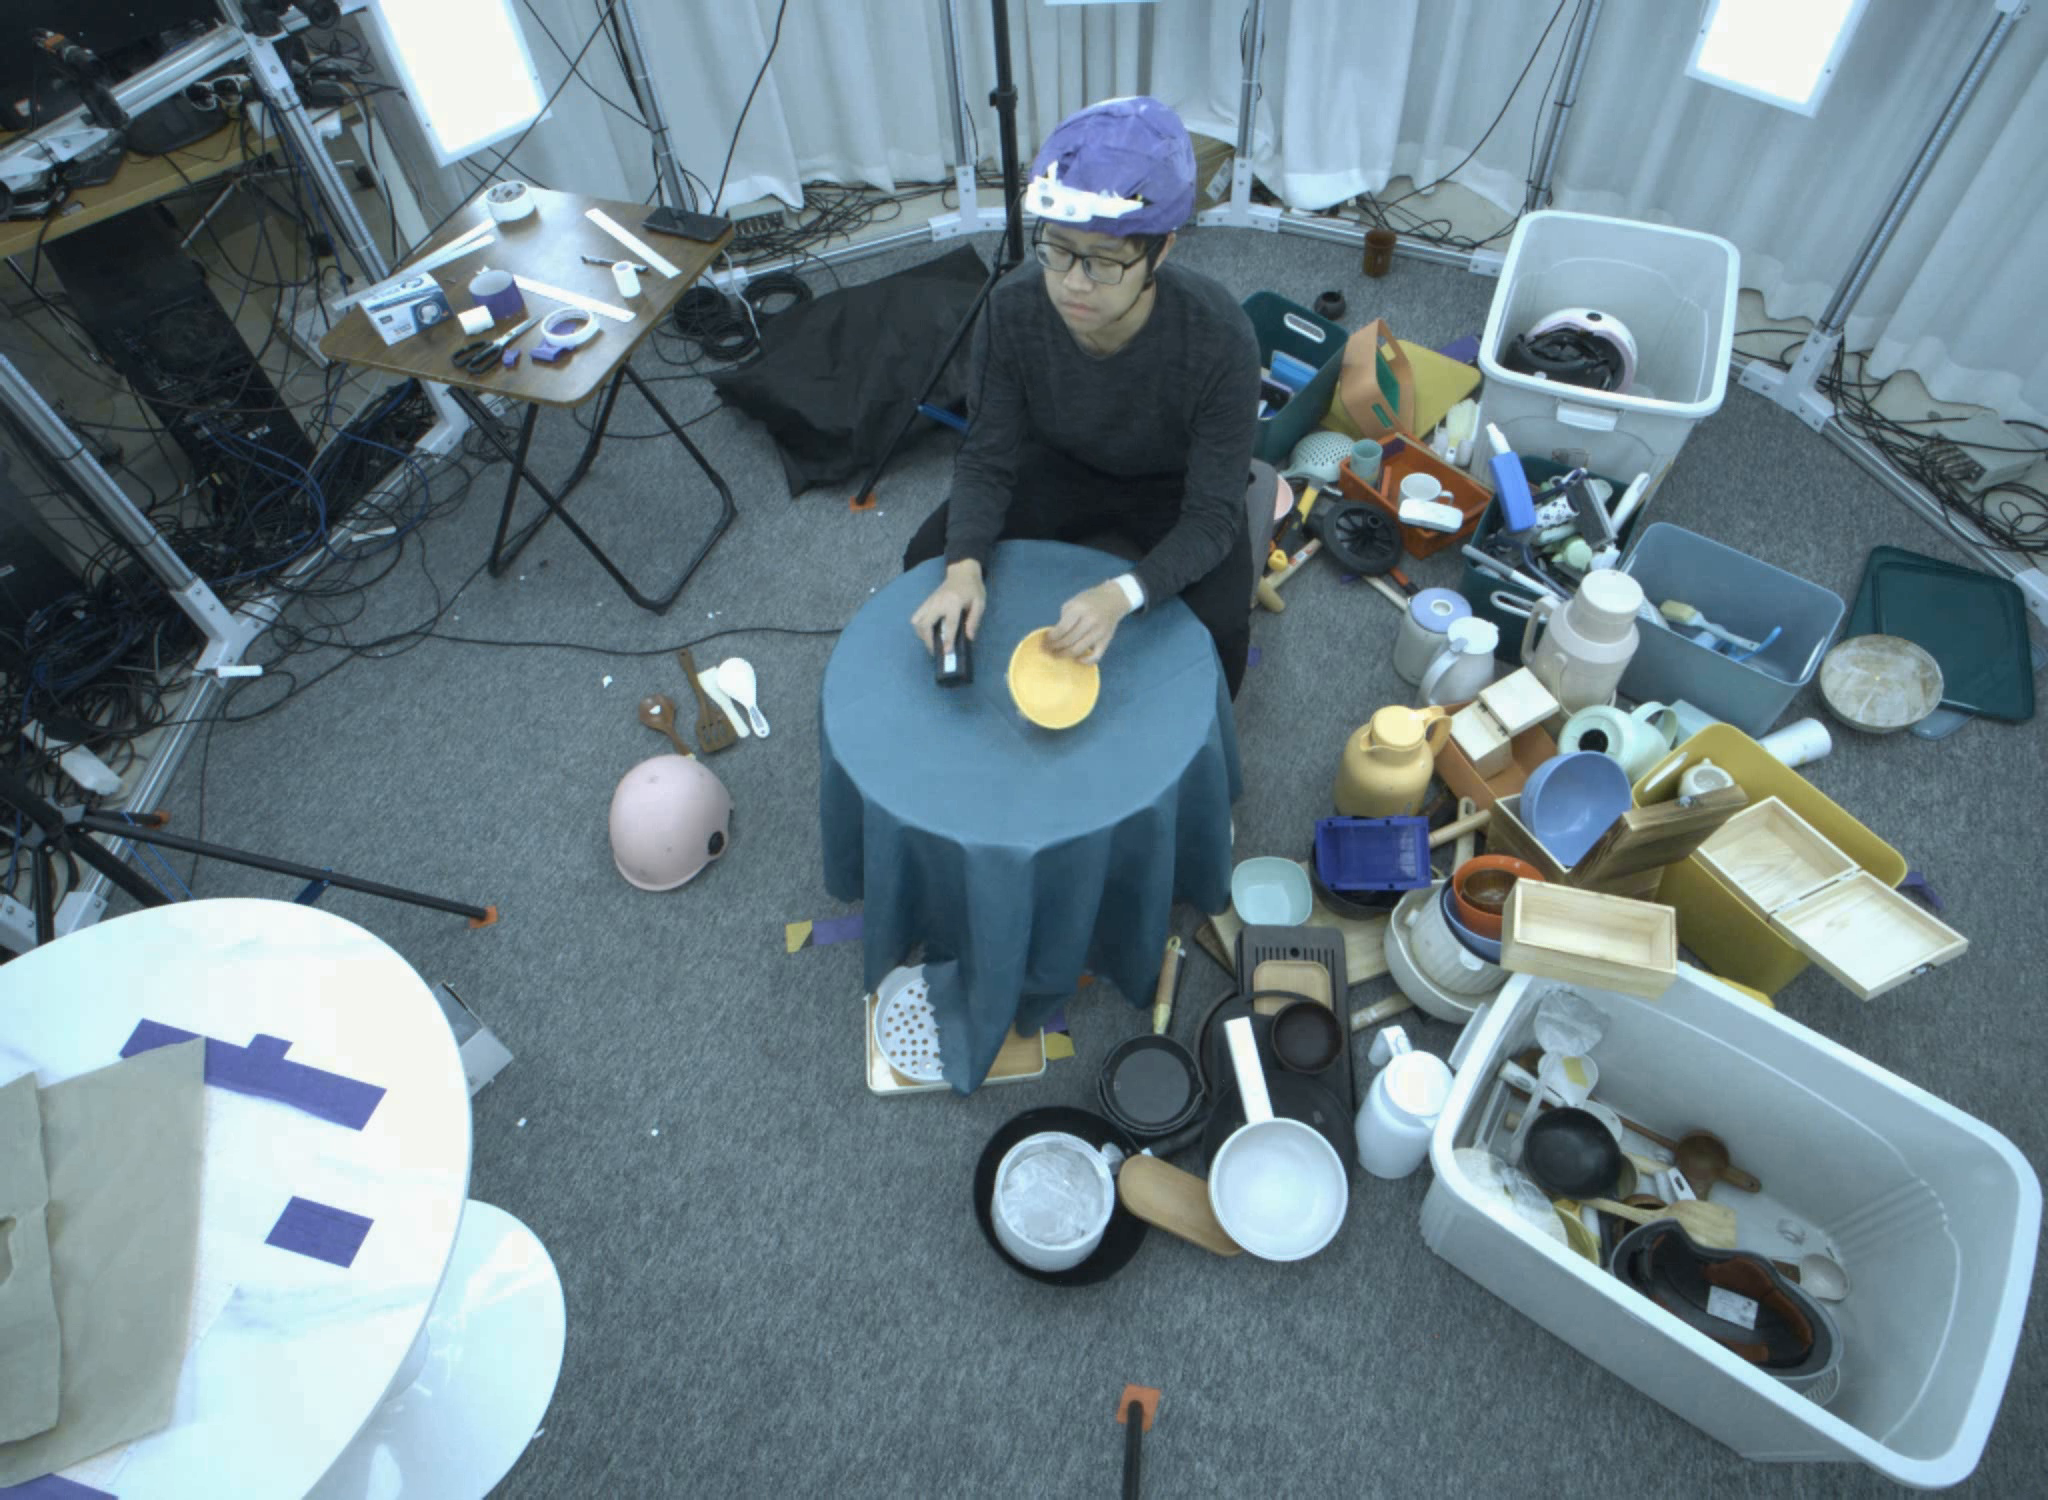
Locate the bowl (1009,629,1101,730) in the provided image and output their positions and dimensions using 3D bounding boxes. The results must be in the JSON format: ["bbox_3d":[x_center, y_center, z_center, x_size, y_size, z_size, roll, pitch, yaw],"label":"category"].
[{"bbox_3d":[0.035,-0.100,1.786,0.148,0.059,0.145,2,86,-28],"label":"bowl"}]

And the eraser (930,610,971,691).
[{"bbox_3d":[-0.110,-0.148,1.830,0.053,0.031,0.124,-10,60,8],"label":"eraser"}]
